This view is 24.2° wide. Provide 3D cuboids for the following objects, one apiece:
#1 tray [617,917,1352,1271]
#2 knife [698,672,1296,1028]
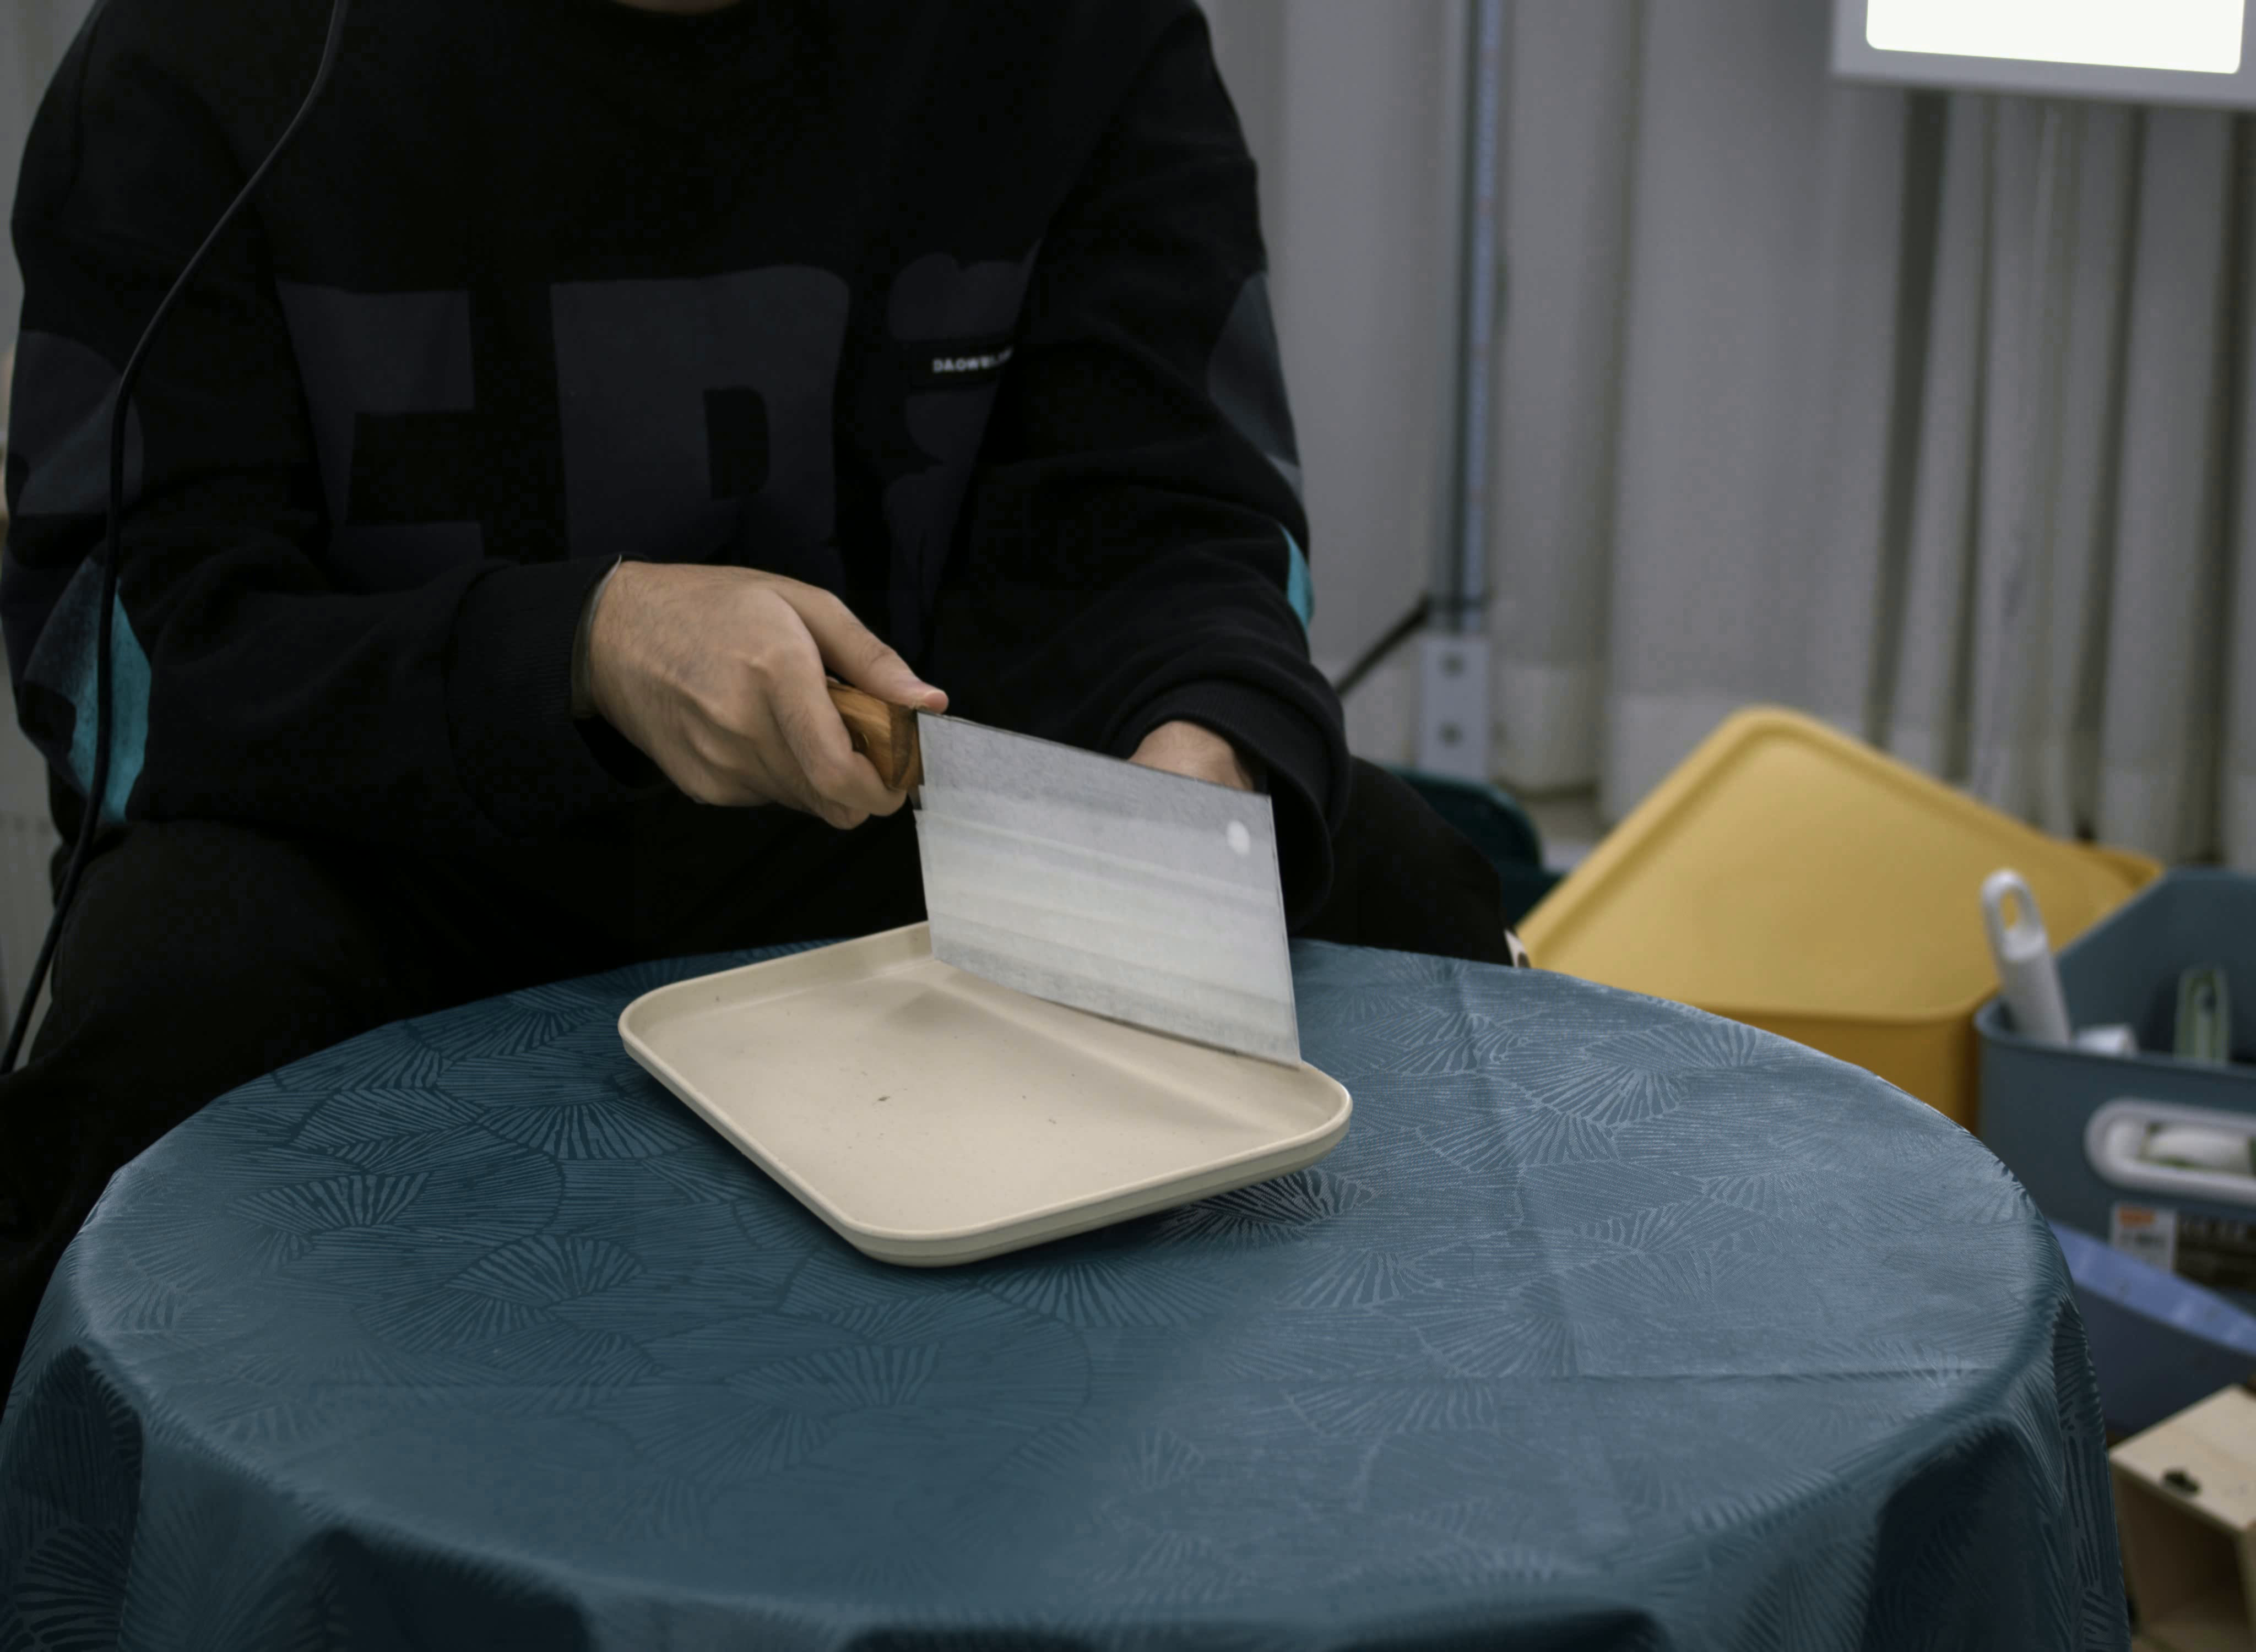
[{"bbox_3d":[-0.048,0.080,1.665,0.171,0.017,0.236,-14,23,-23],"label":"tray"},{"bbox_3d":[-0.046,0.008,1.713,0.021,0.094,0.302,-20,22,-35],"label":"knife"}]
